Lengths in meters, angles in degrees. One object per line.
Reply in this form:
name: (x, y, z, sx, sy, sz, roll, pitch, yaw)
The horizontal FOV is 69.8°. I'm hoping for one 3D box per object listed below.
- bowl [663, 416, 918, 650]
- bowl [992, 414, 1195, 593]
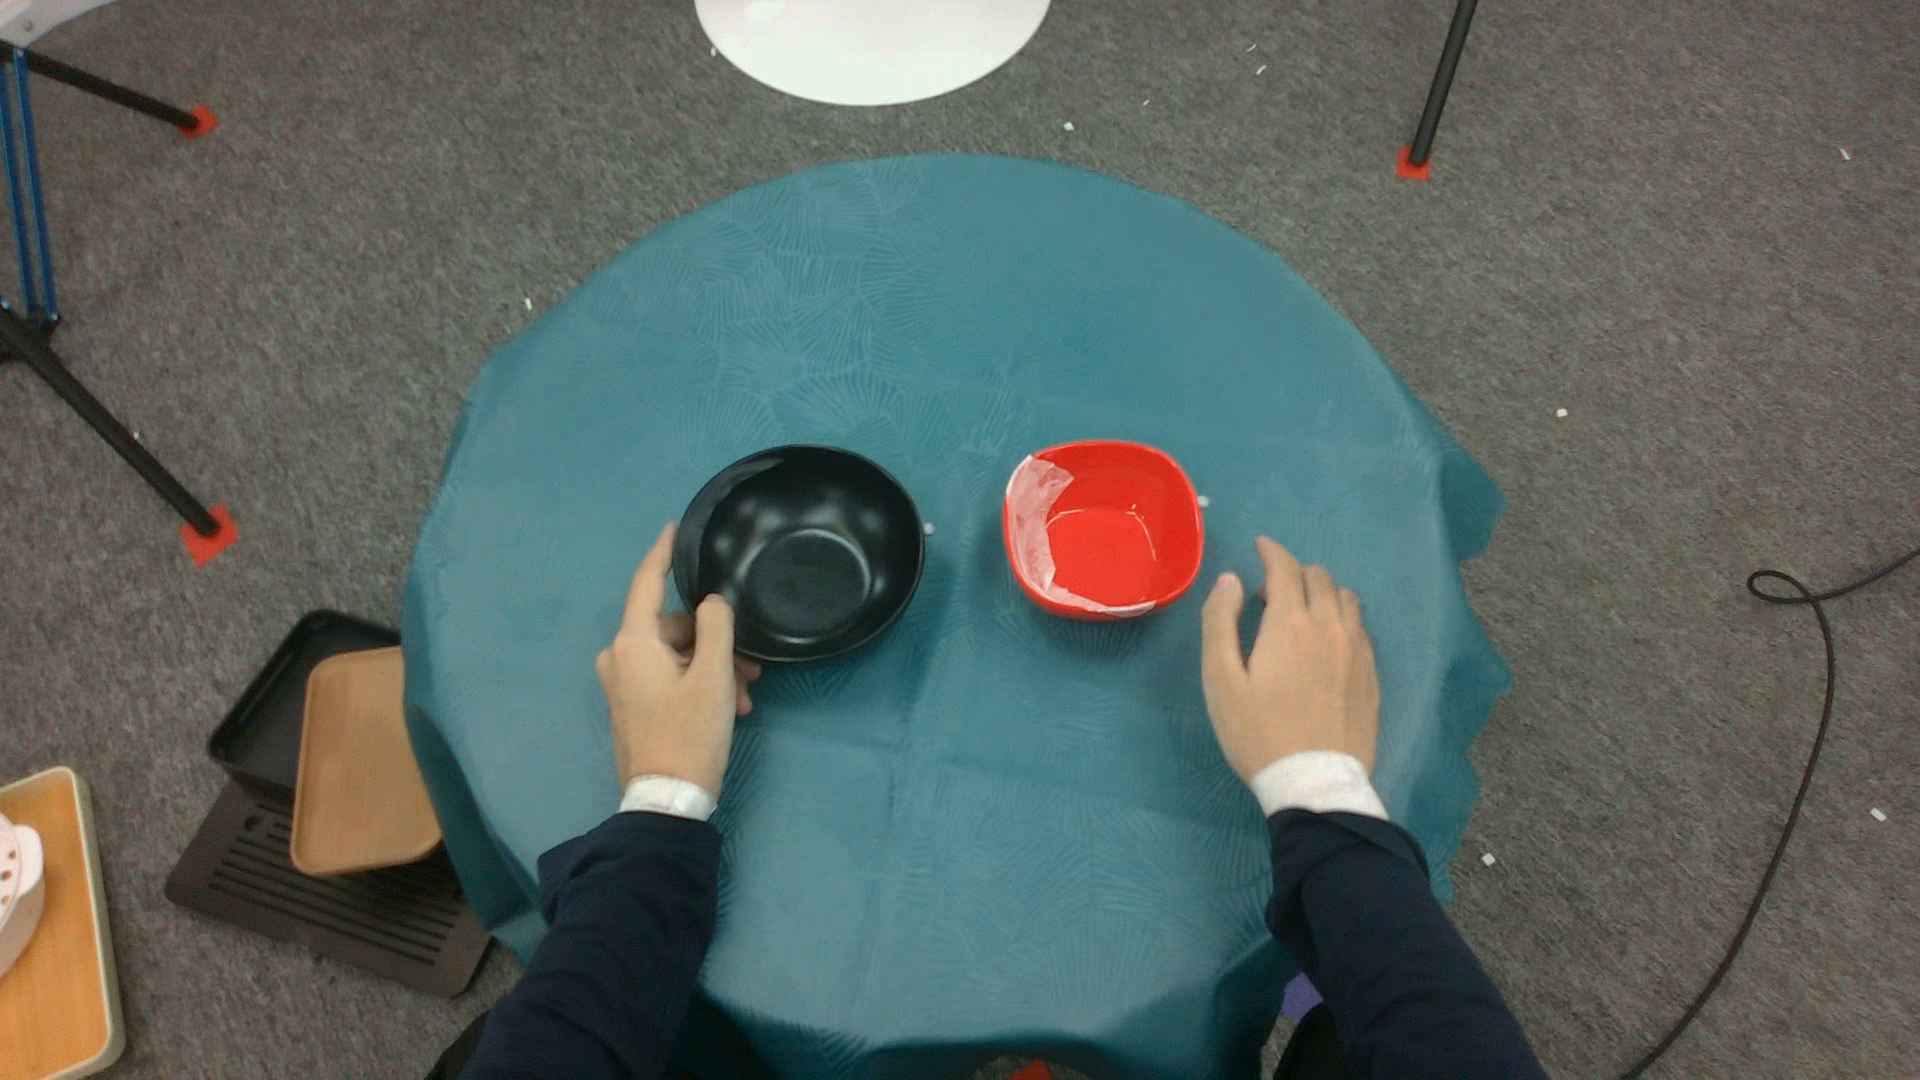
bowl: (-0.092, 0.003, 0.769, 0.140, 0.049, 0.140, 0, 64, 0)
bowl: (0.073, -0.012, 0.772, 0.119, 0.051, 0.119, 1, 58, -1)
